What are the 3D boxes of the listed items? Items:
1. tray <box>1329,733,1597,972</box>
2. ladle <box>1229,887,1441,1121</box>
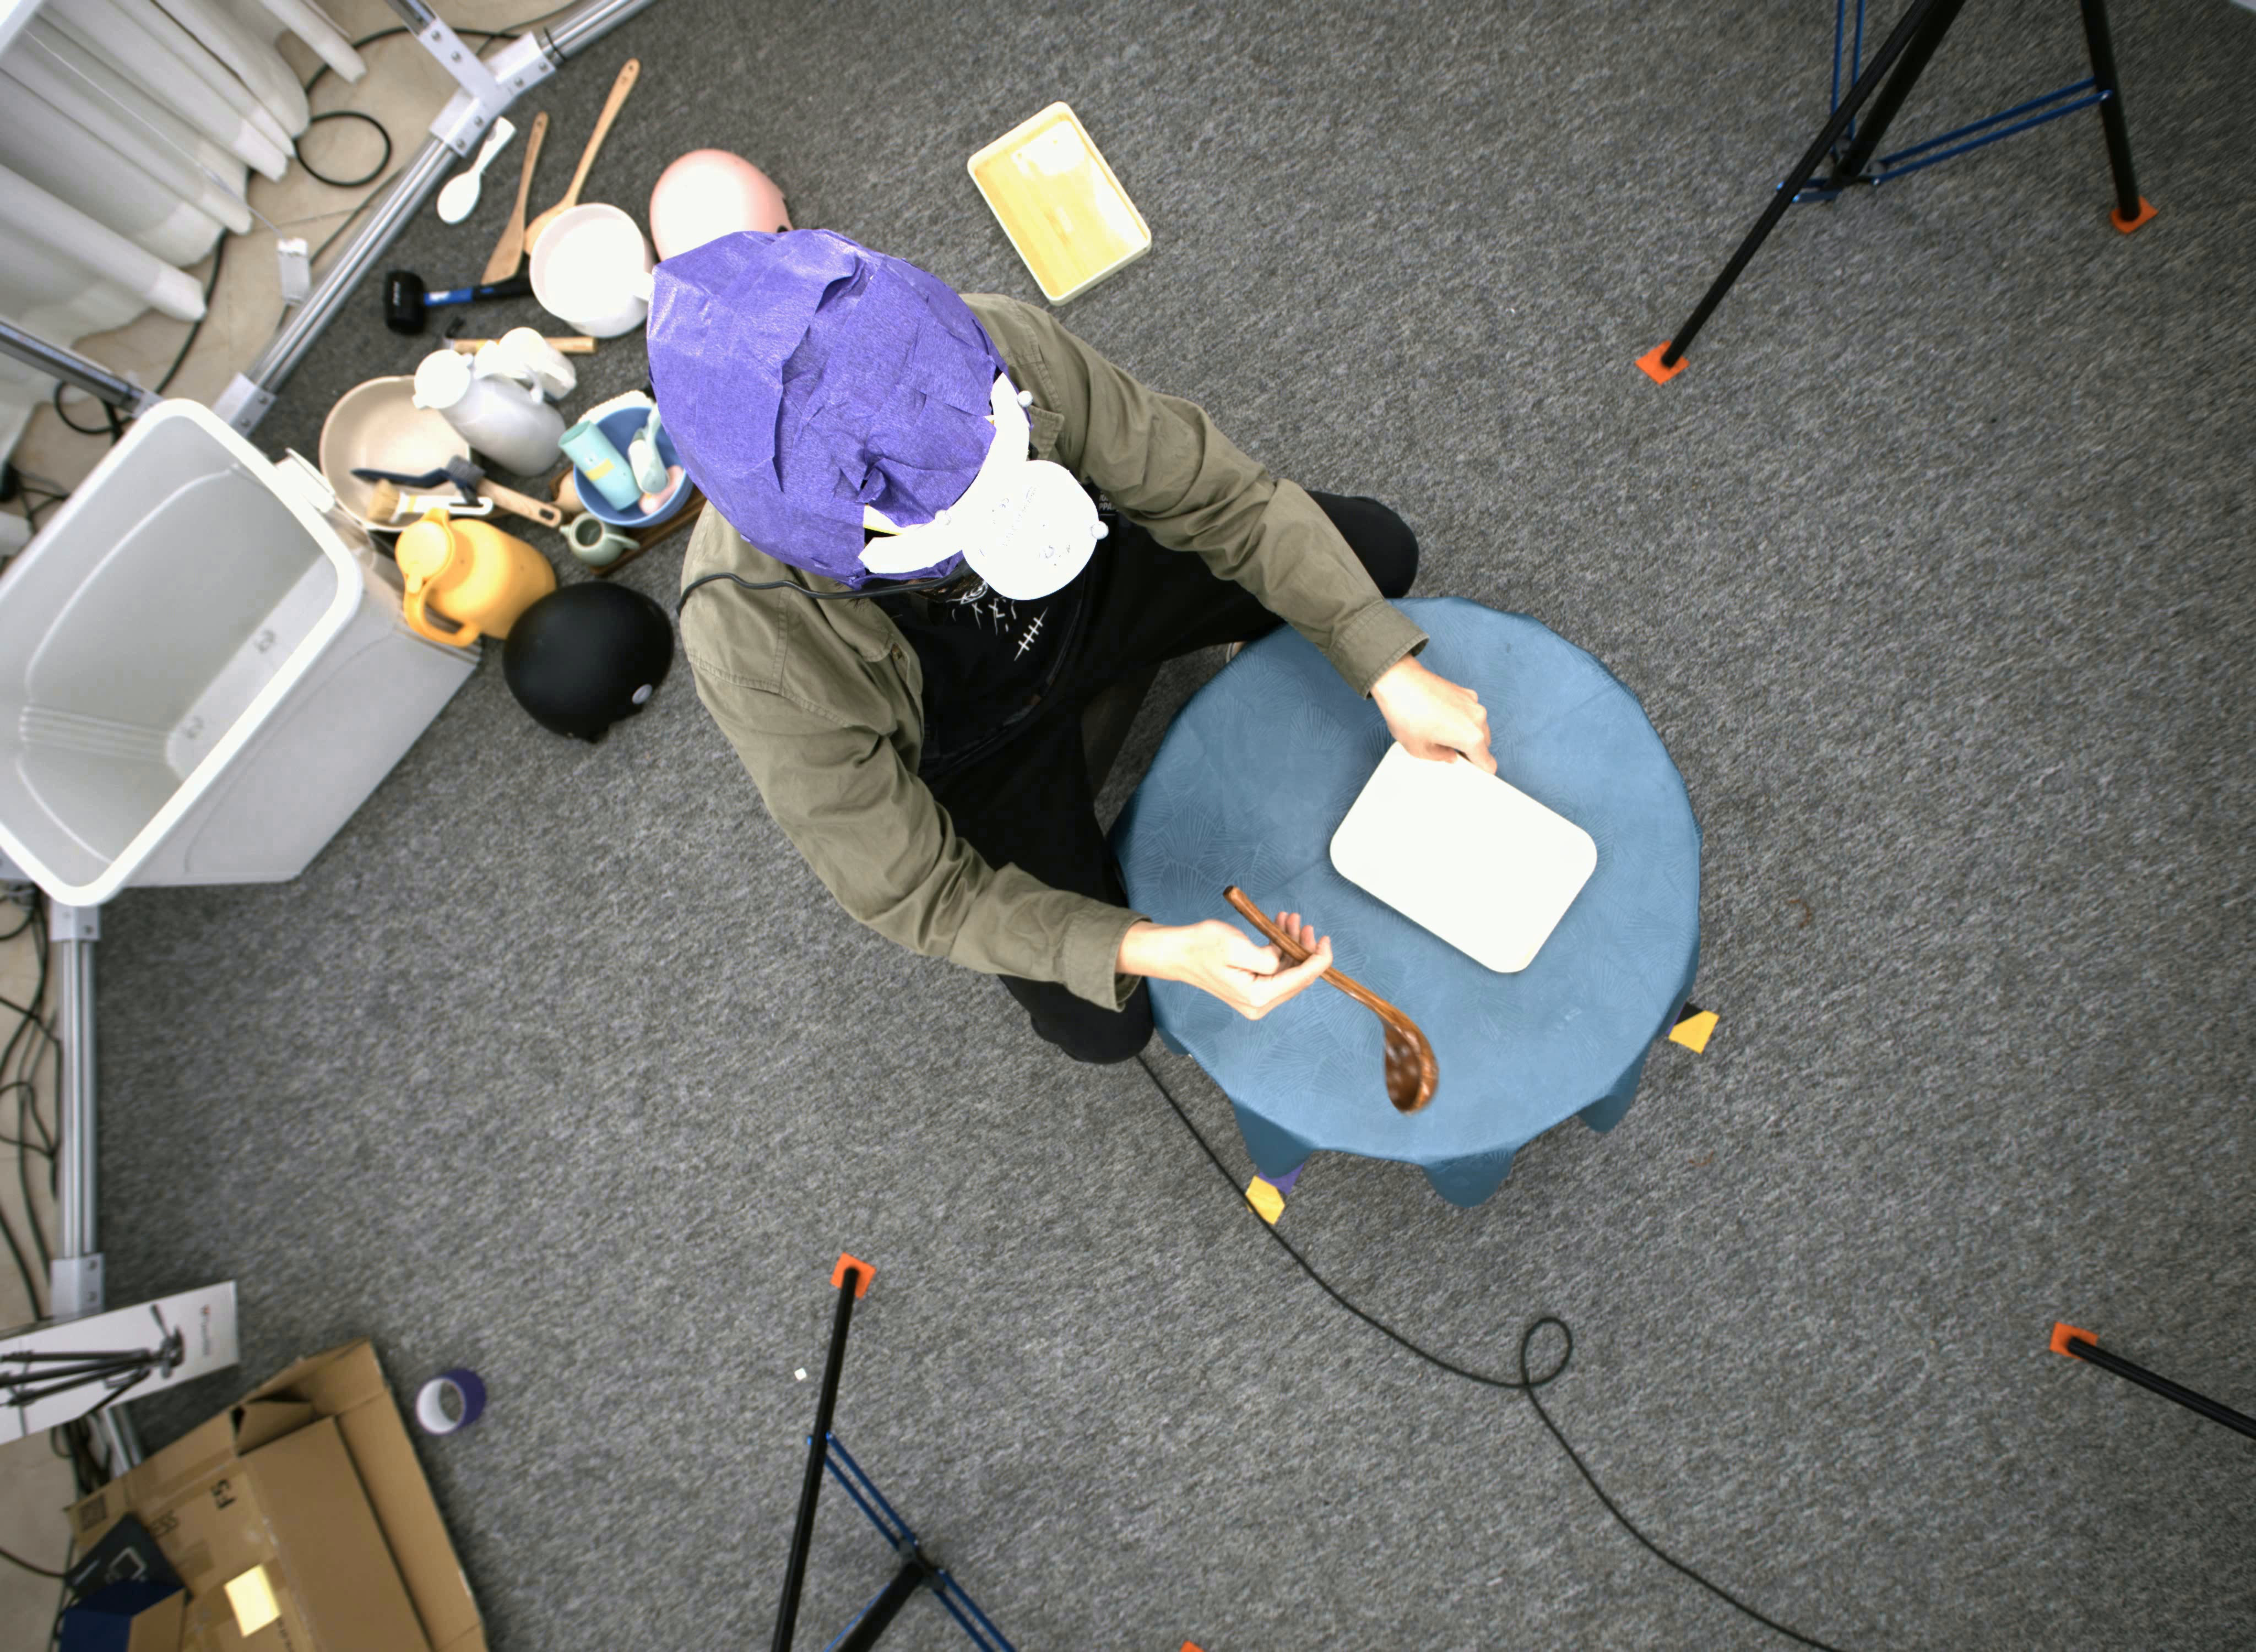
[{"bbox_3d":[0.340,0.025,1.405,0.239,0.017,0.173,32,105,4],"label":"tray"},{"bbox_3d":[0.177,0.164,1.245,0.275,0.082,0.076,38,77,-14],"label":"ladle"}]
